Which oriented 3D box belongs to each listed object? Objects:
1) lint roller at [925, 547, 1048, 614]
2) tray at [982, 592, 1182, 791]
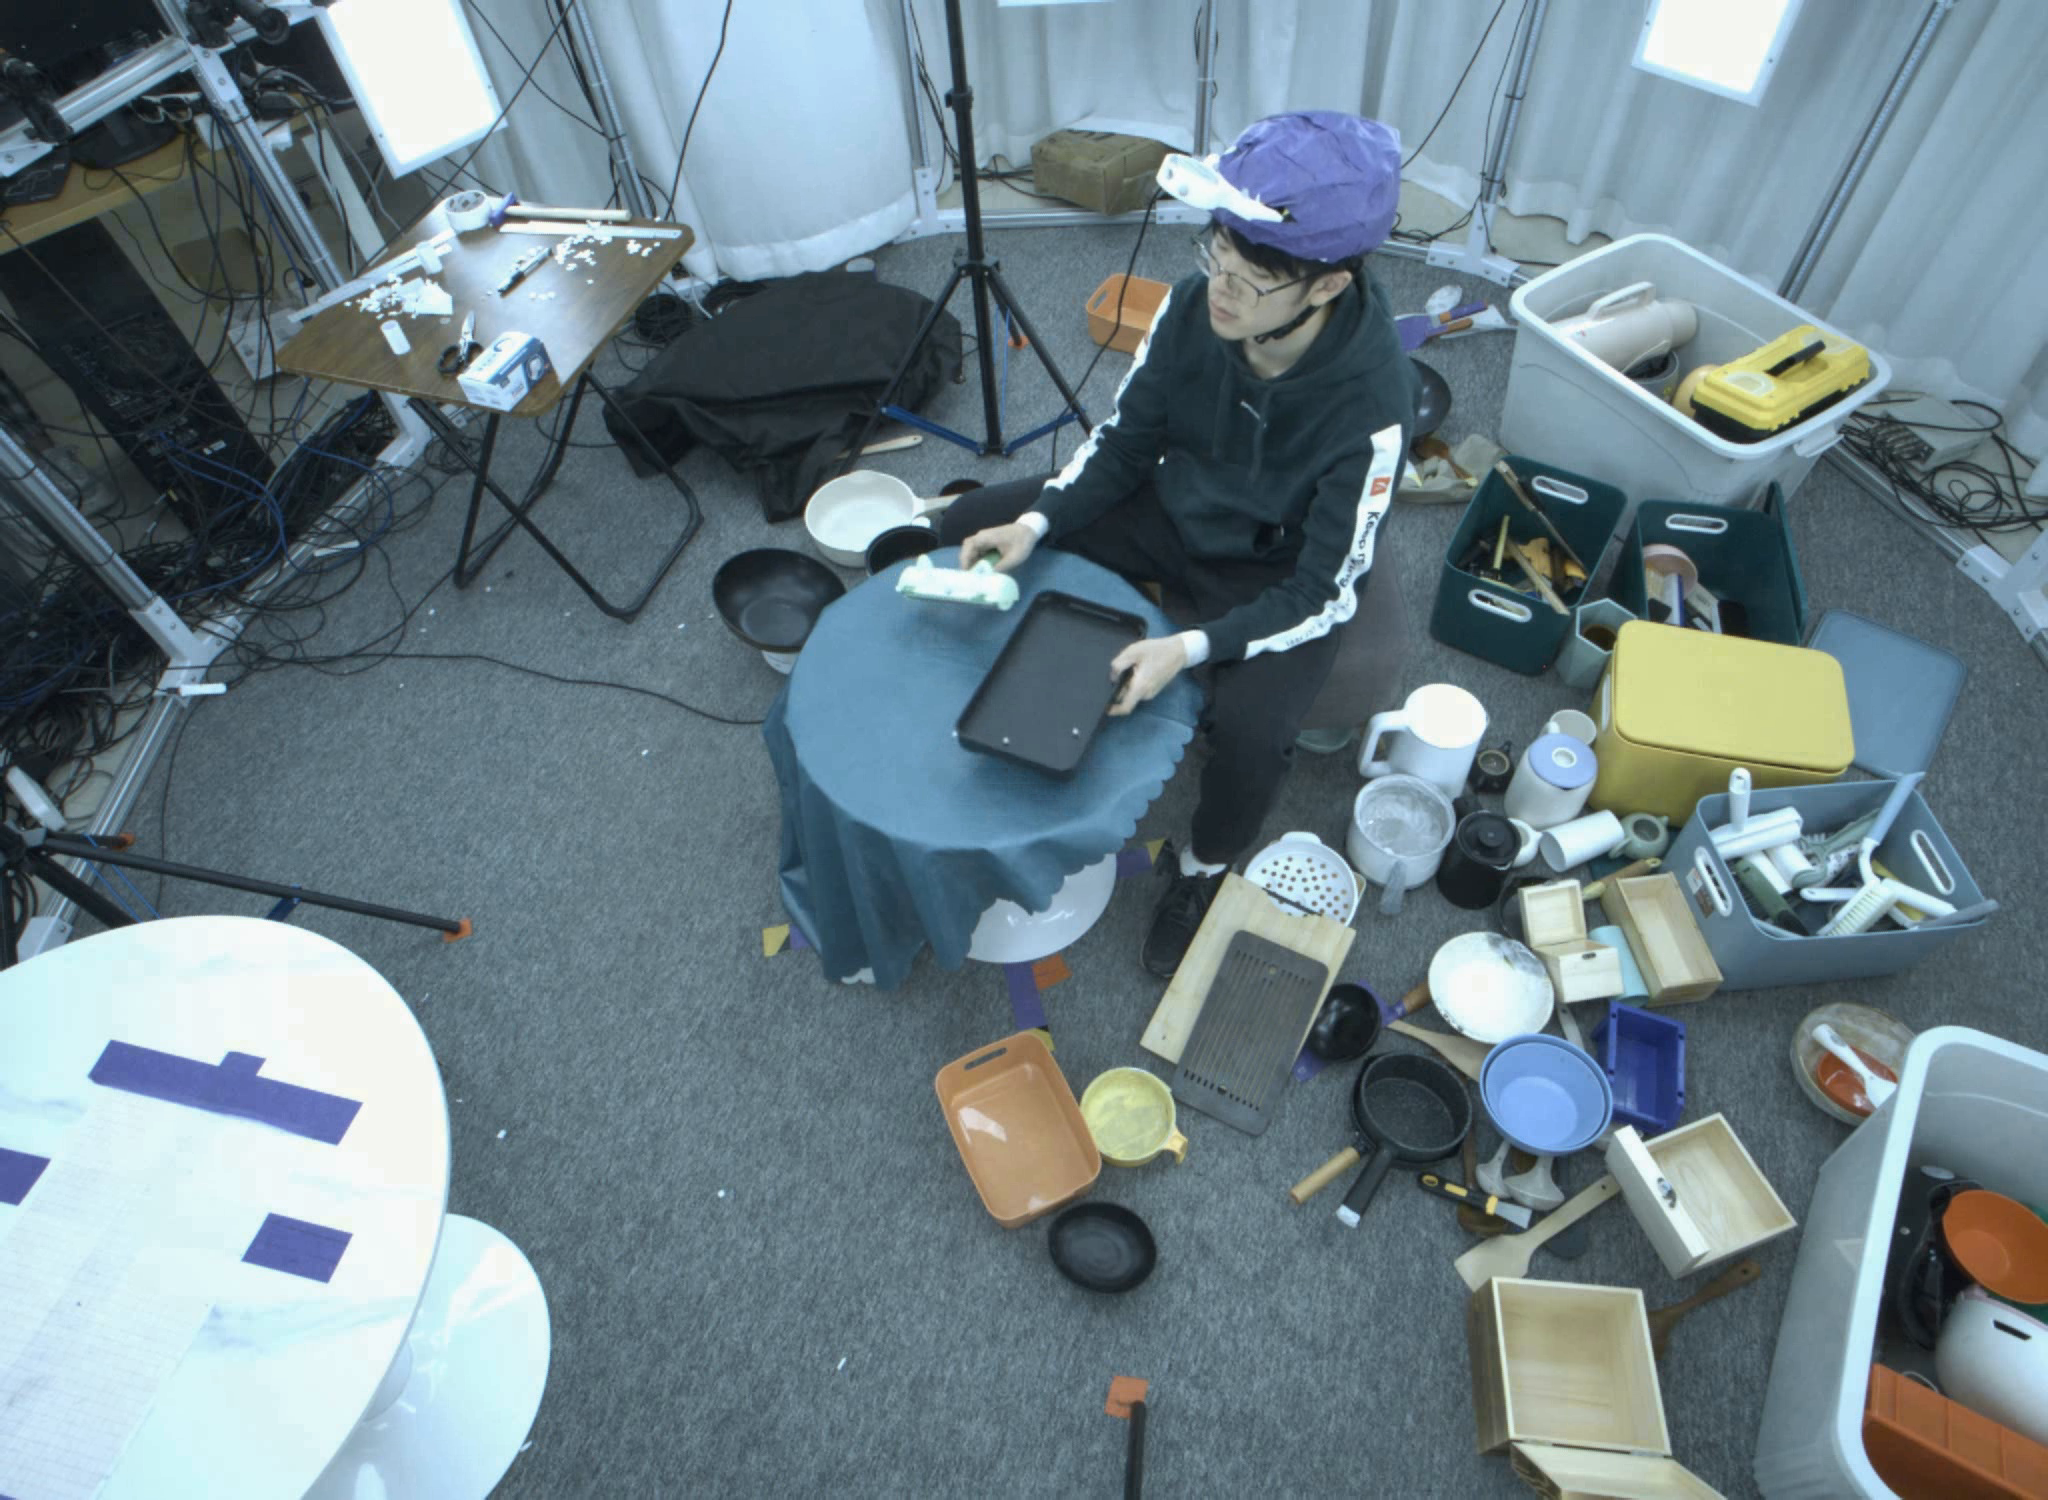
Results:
[{"bbox_3d":[-0.029,-0.284,1.889,0.194,0.083,0.184,14,48,34],"label":"lint roller"},{"bbox_3d":[0.087,-0.091,1.768,0.182,0.037,0.318,22,56,15],"label":"tray"}]
